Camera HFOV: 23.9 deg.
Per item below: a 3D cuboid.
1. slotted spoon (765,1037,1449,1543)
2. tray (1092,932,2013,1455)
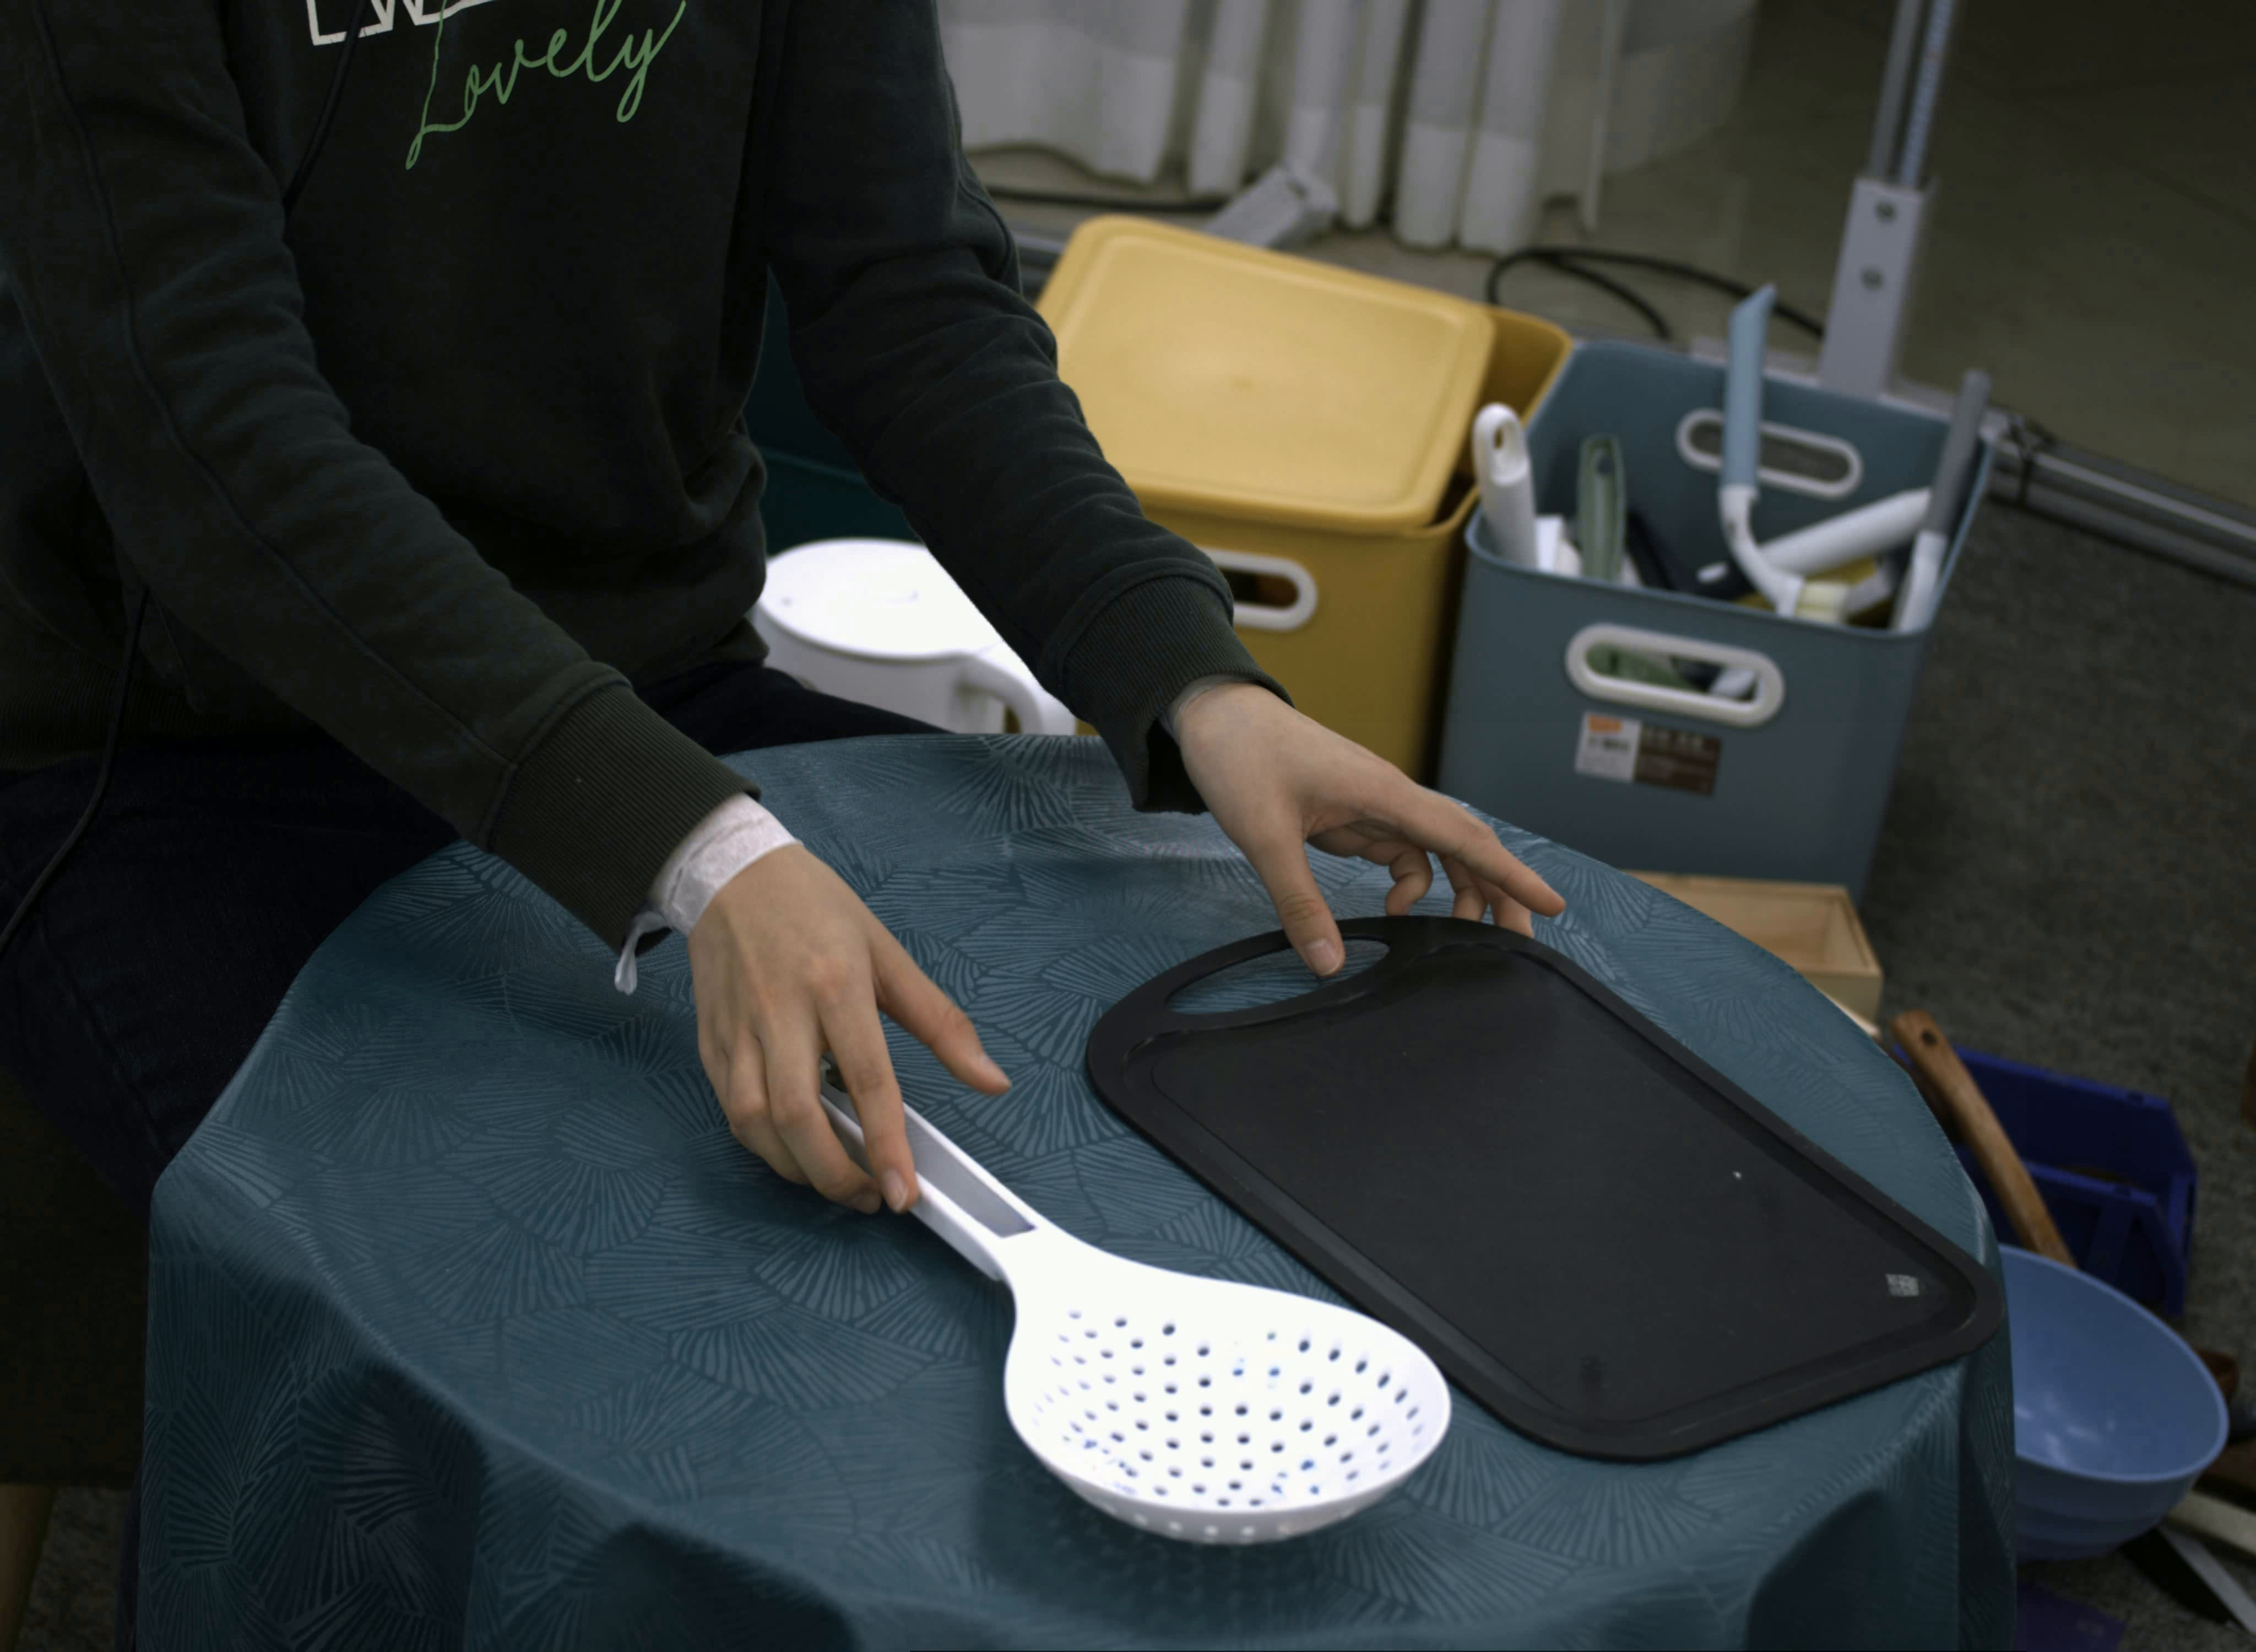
[{"bbox_3d":[-0.026,0.142,1.707,0.135,0.045,0.353,-11,31,-29],"label":"slotted spoon"},{"bbox_3d":[0.136,0.116,1.833,0.210,0.010,0.328,-13,33,-33],"label":"tray"}]
